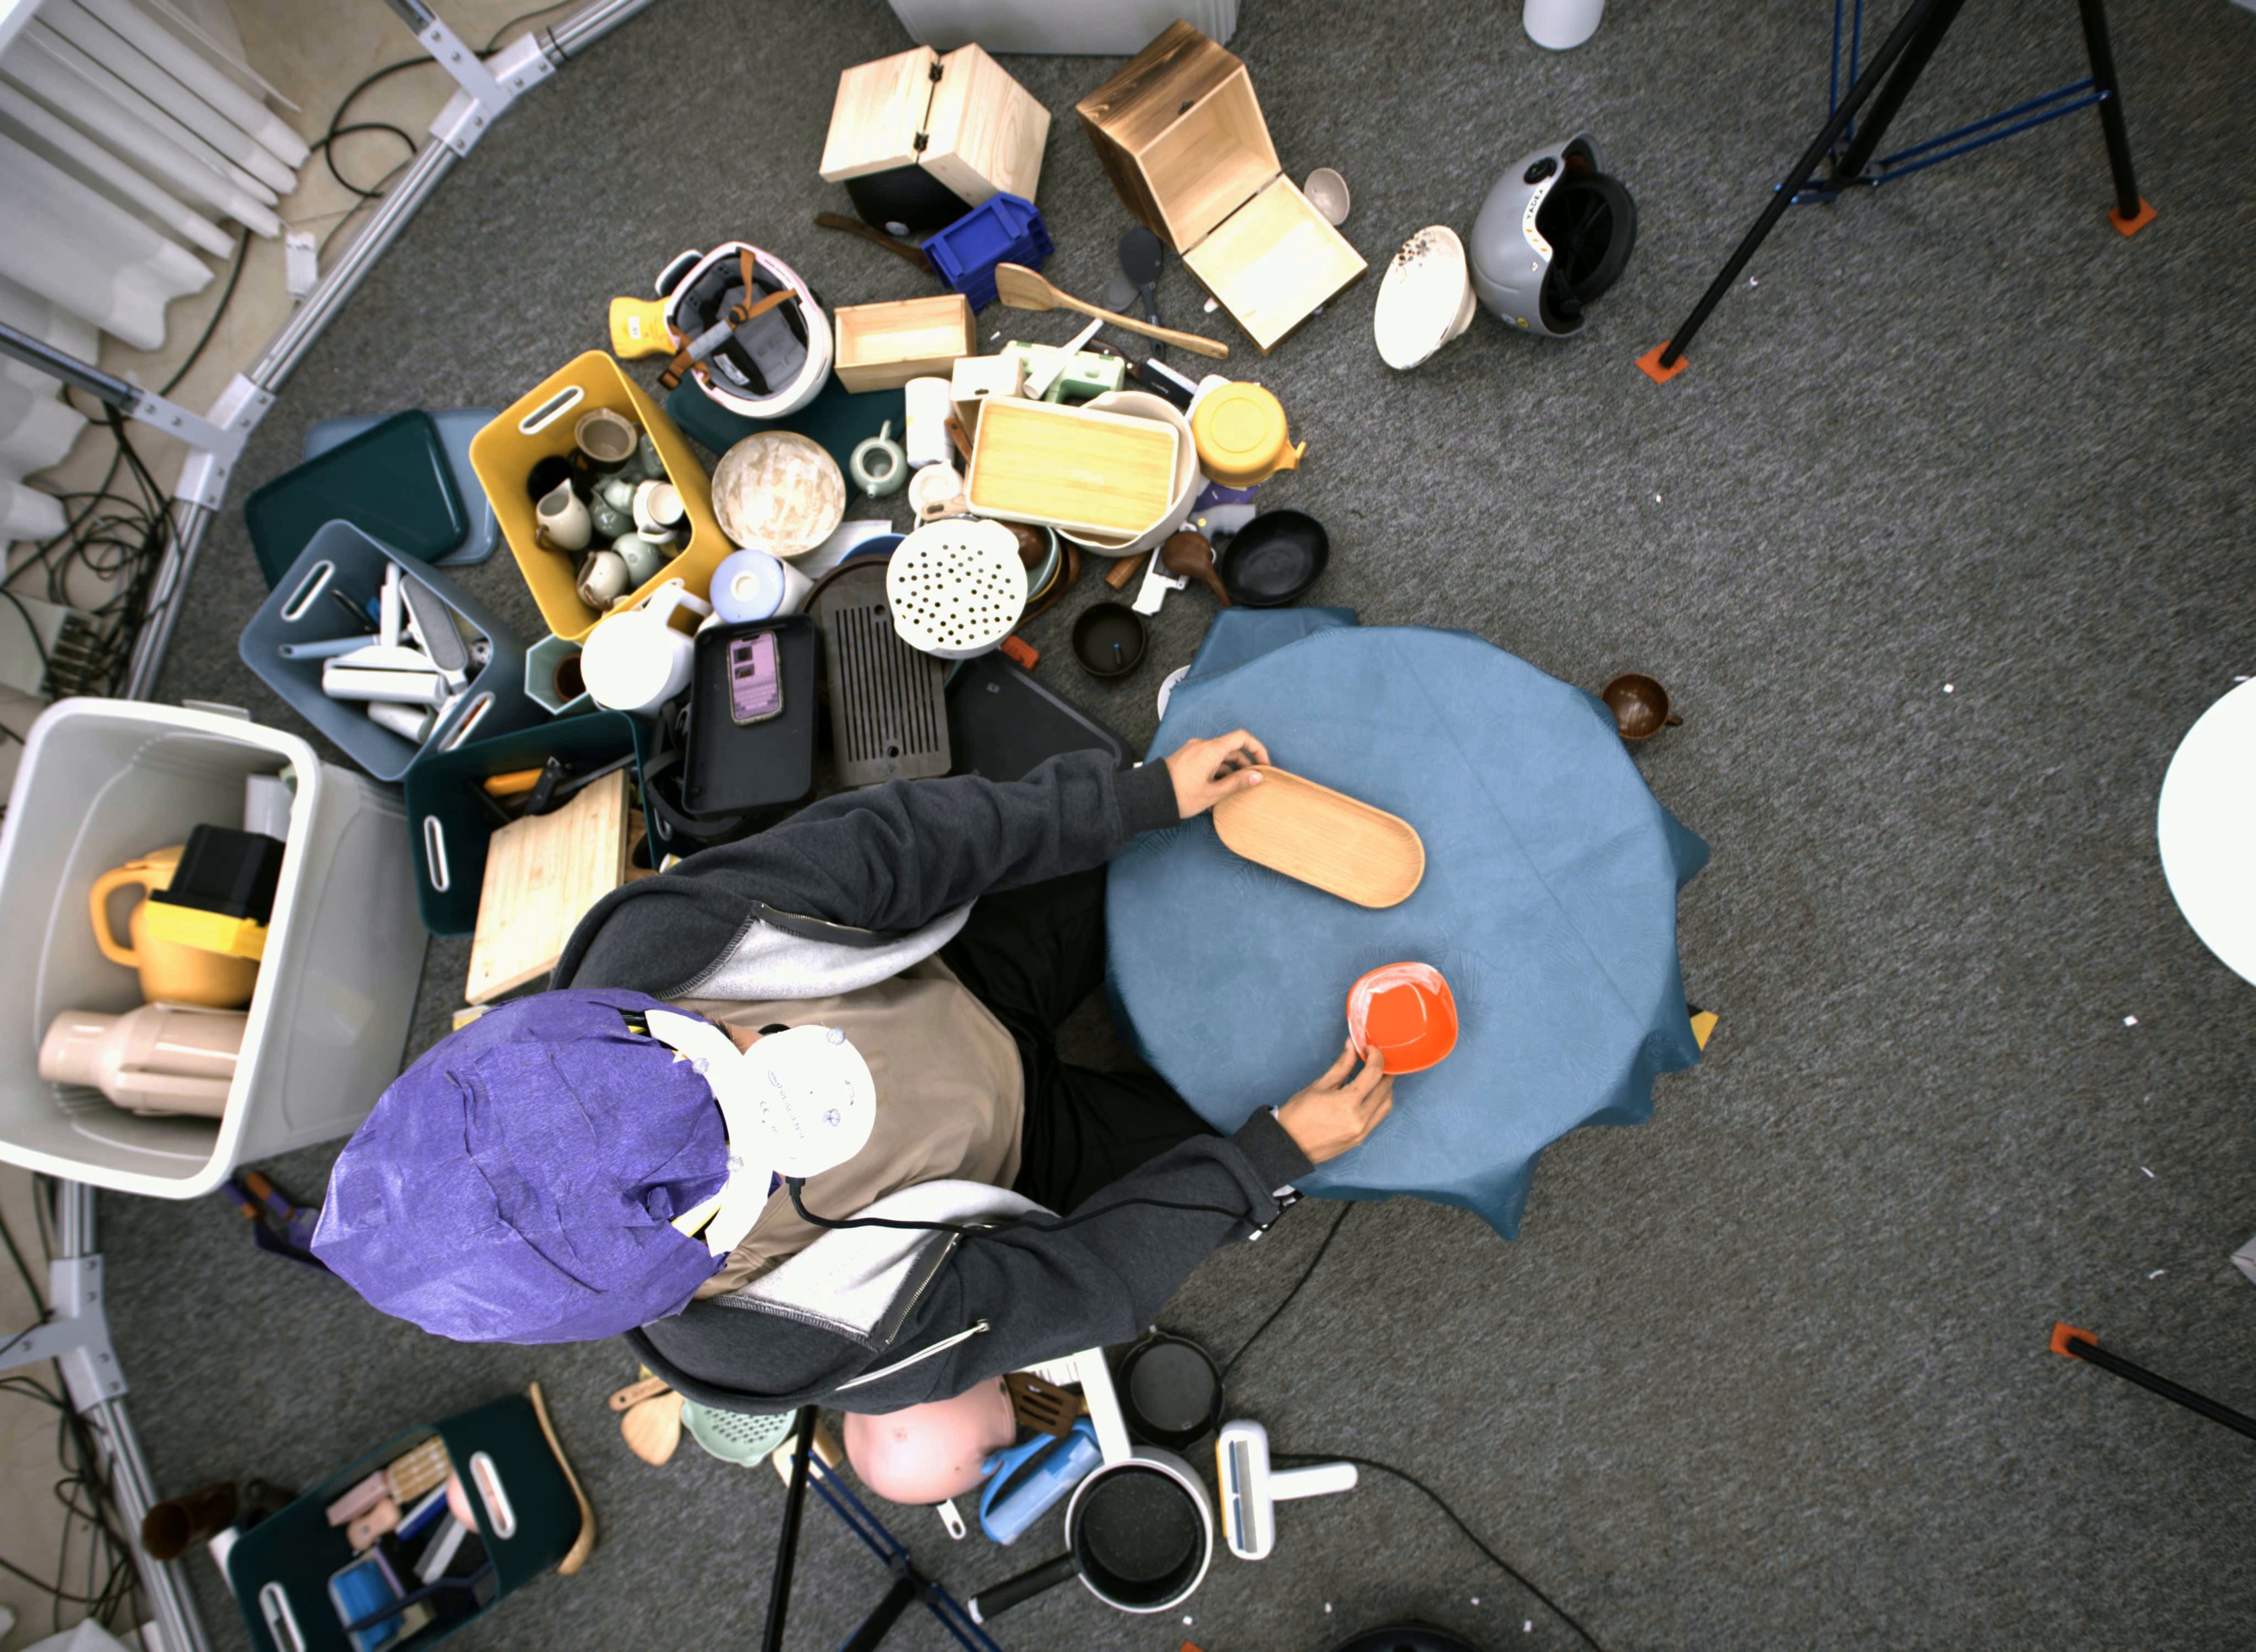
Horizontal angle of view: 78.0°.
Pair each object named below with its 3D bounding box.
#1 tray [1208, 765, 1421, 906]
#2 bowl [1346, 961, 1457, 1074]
[{"bbox_3d":[0.196,0.009,1.455,0.231,0.020,0.102,21,92,5],"label":"tray"},{"bbox_3d":[0.274,0.192,1.411,0.119,0.051,0.118,0,89,-1],"label":"bowl"}]
